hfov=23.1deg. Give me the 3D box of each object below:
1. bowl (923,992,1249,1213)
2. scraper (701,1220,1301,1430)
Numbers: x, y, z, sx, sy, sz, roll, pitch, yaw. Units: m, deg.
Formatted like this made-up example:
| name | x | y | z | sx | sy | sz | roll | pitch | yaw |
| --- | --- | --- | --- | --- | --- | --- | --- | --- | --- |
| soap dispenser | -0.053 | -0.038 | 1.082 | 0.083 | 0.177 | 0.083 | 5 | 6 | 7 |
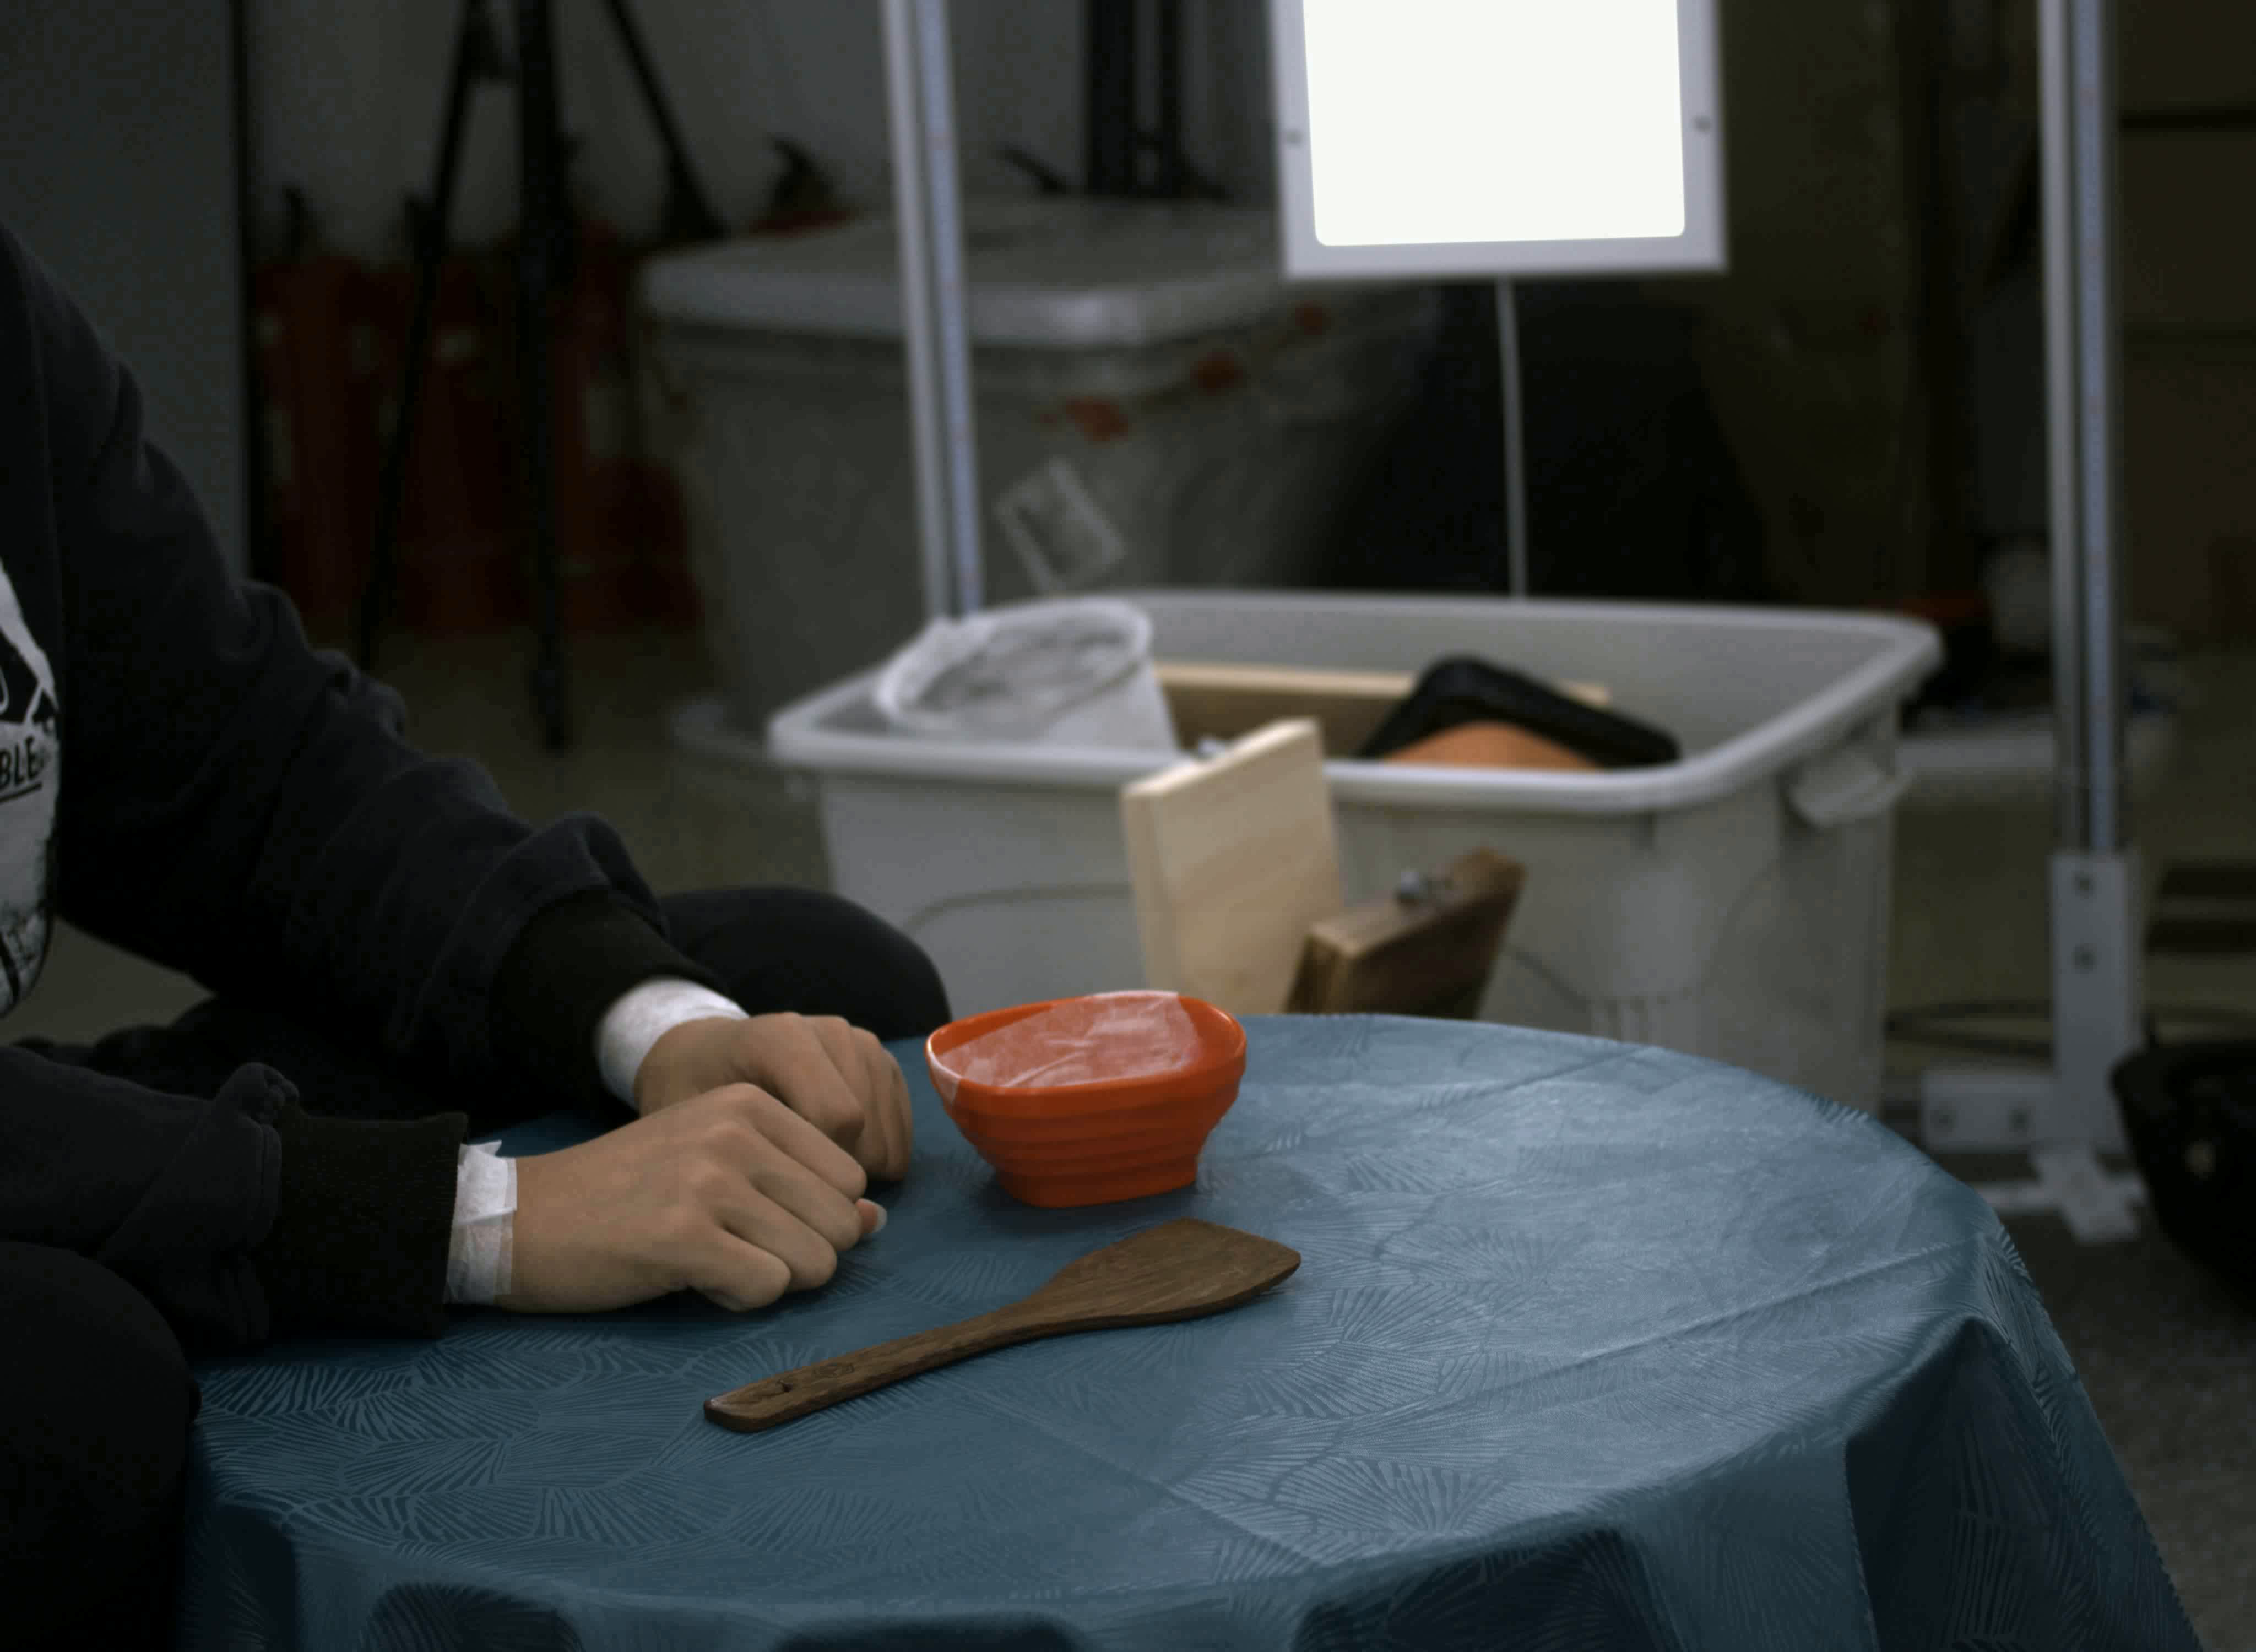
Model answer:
| name | x | y | z | sx | sy | sz | roll | pitch | yaw |
| --- | --- | --- | --- | --- | --- | --- | --- | --- | --- |
| bowl | -0.013 | 0.099 | 1.914 | 0.118 | 0.051 | 0.119 | -4 | 15 | 0 |
| scraper | -0.043 | 0.161 | 1.757 | 0.206 | 0.011 | 0.077 | -15 | 16 | -33 |
